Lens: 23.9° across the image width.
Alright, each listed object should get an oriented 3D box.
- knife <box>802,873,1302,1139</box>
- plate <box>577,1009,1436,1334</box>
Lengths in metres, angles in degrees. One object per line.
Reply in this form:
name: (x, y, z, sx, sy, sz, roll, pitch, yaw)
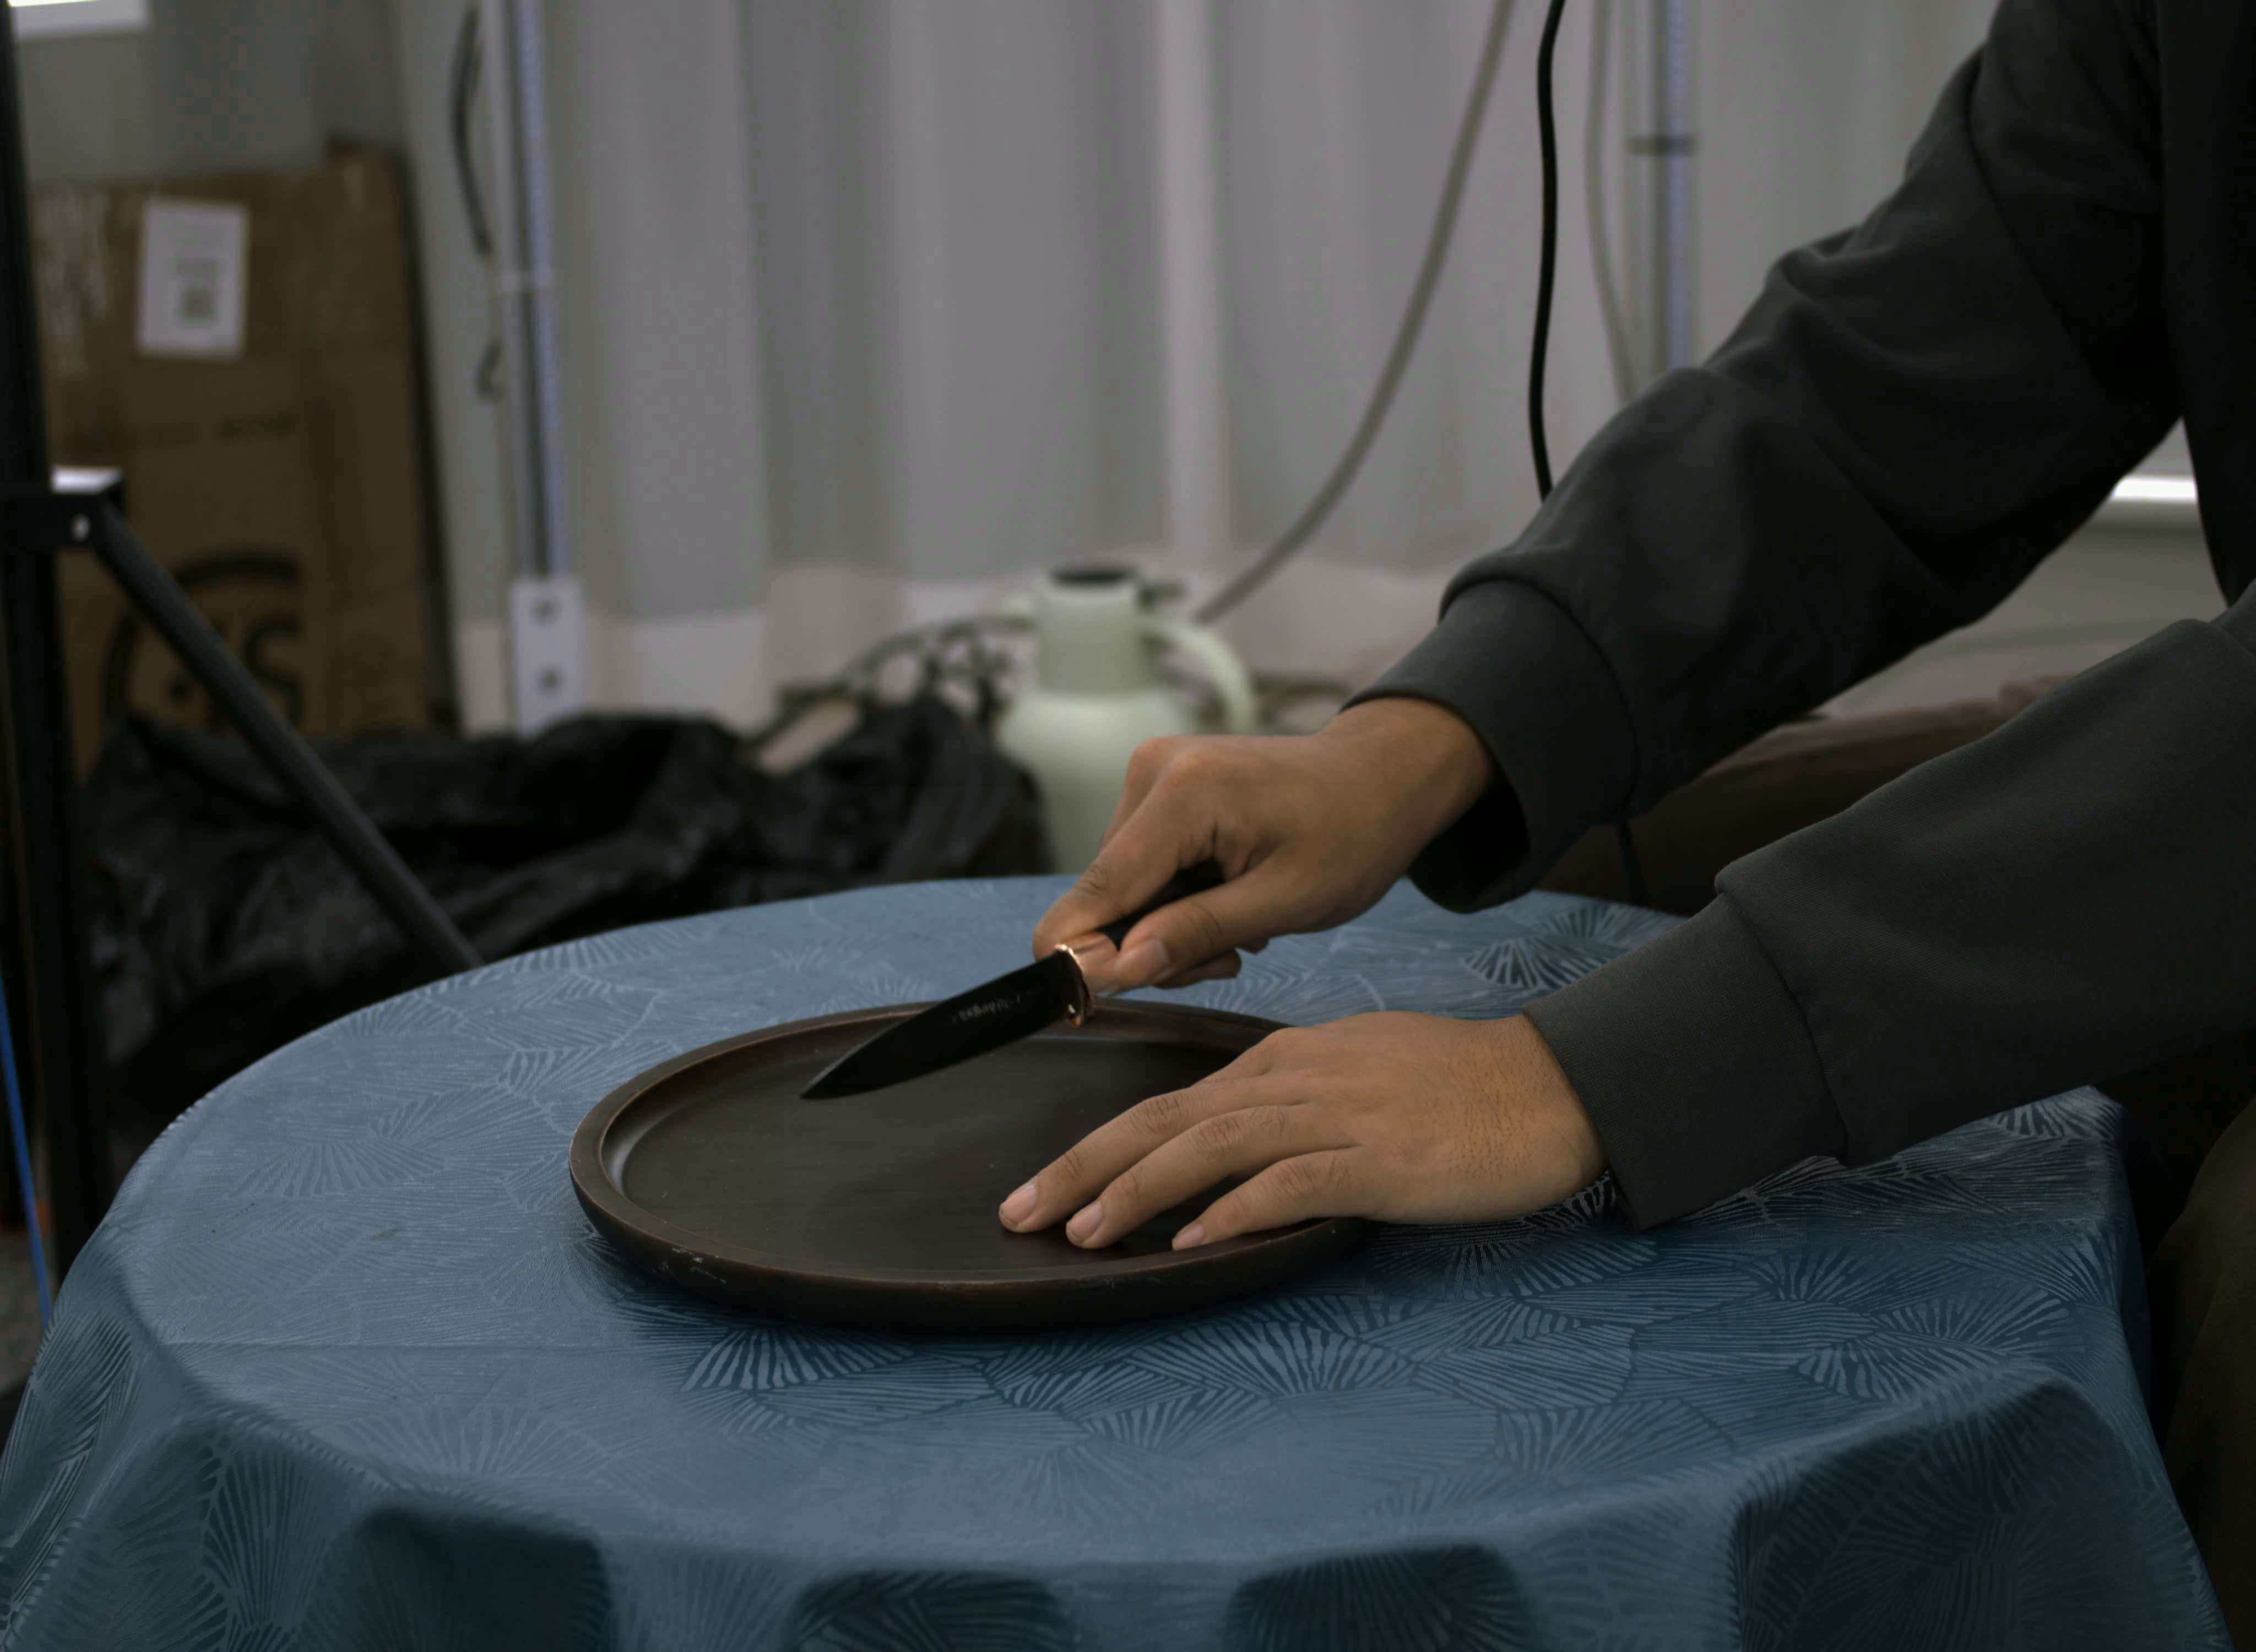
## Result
knife: (-0.020, 0.053, 1.611, 0.017, 0.026, 0.221, -4, 13, 45)
plate: (-0.035, 0.098, 1.555, 0.253, 0.029, 0.256, -2, 14, -1)
